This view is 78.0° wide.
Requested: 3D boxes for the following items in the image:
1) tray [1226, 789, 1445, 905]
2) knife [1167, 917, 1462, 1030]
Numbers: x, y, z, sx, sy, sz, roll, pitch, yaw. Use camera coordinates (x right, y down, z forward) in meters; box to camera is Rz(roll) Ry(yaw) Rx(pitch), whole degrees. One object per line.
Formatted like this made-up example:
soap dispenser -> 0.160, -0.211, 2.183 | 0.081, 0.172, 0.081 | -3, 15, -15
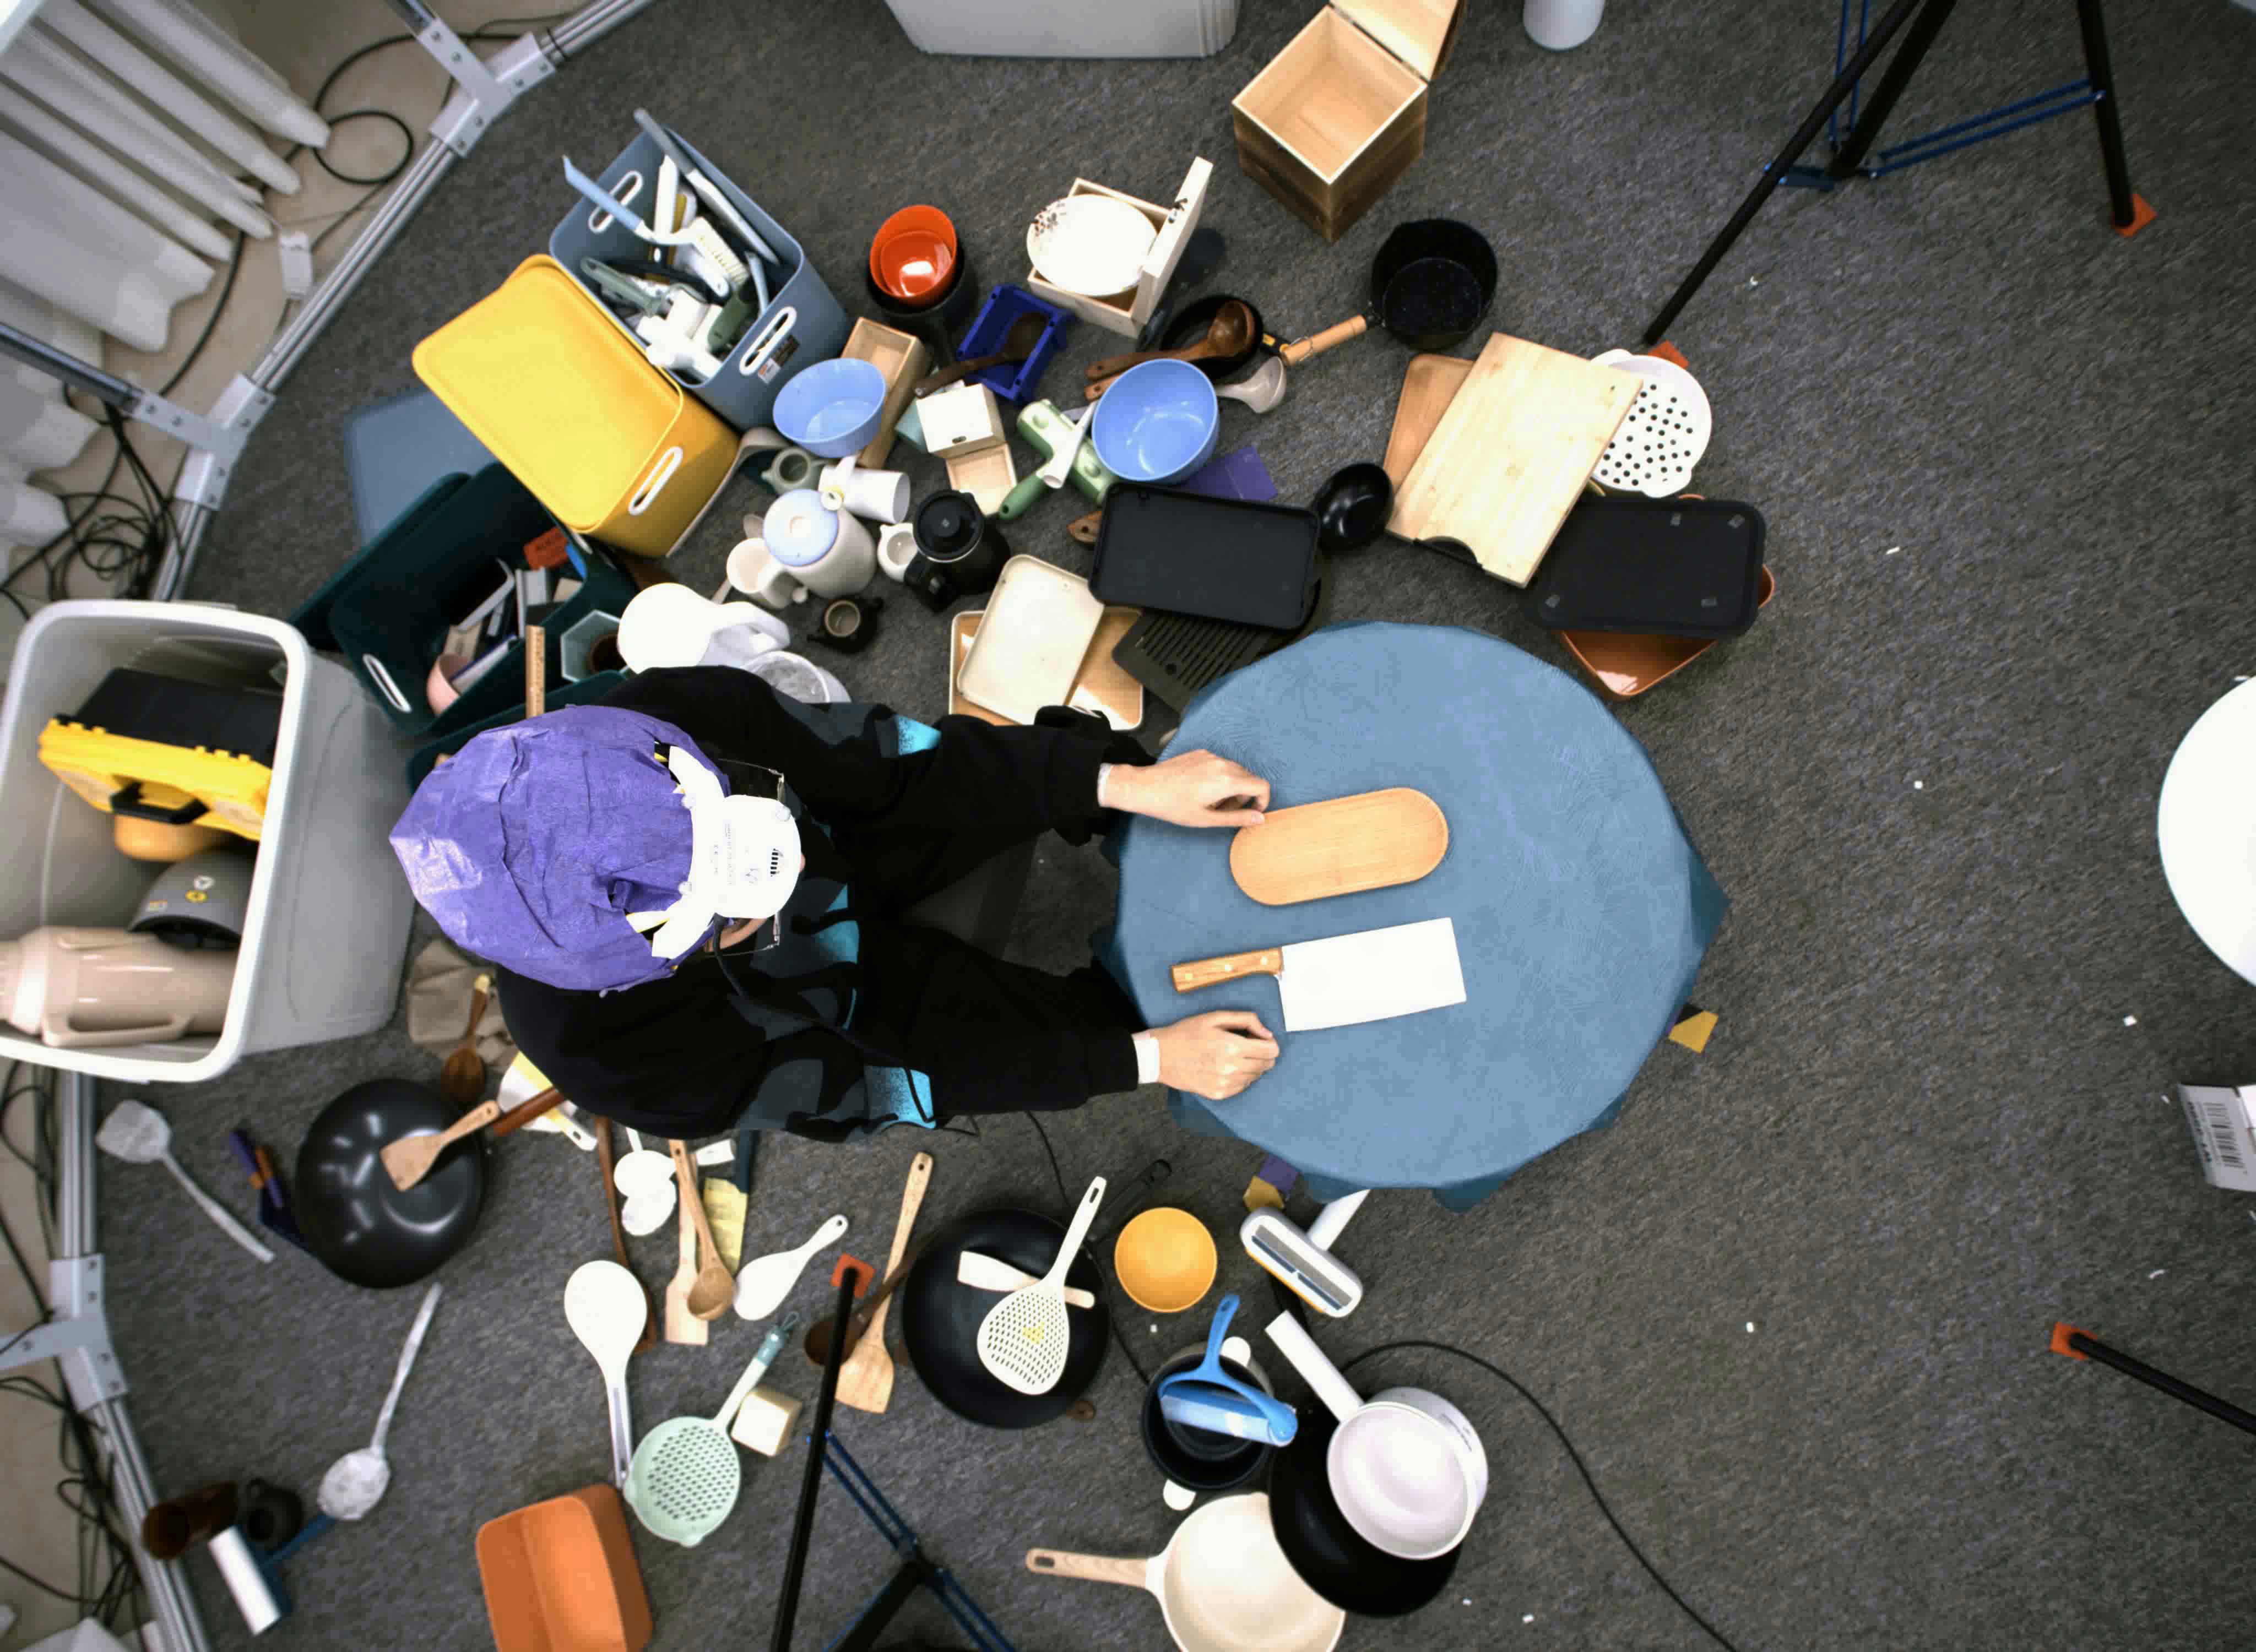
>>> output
tray -> 0.219, 0.022, 1.463 | 0.232, 0.020, 0.101 | -11, 84, 11
knife -> 0.196, 0.164, 1.461 | 0.307, 0.021, 0.092 | -11, 86, 7
